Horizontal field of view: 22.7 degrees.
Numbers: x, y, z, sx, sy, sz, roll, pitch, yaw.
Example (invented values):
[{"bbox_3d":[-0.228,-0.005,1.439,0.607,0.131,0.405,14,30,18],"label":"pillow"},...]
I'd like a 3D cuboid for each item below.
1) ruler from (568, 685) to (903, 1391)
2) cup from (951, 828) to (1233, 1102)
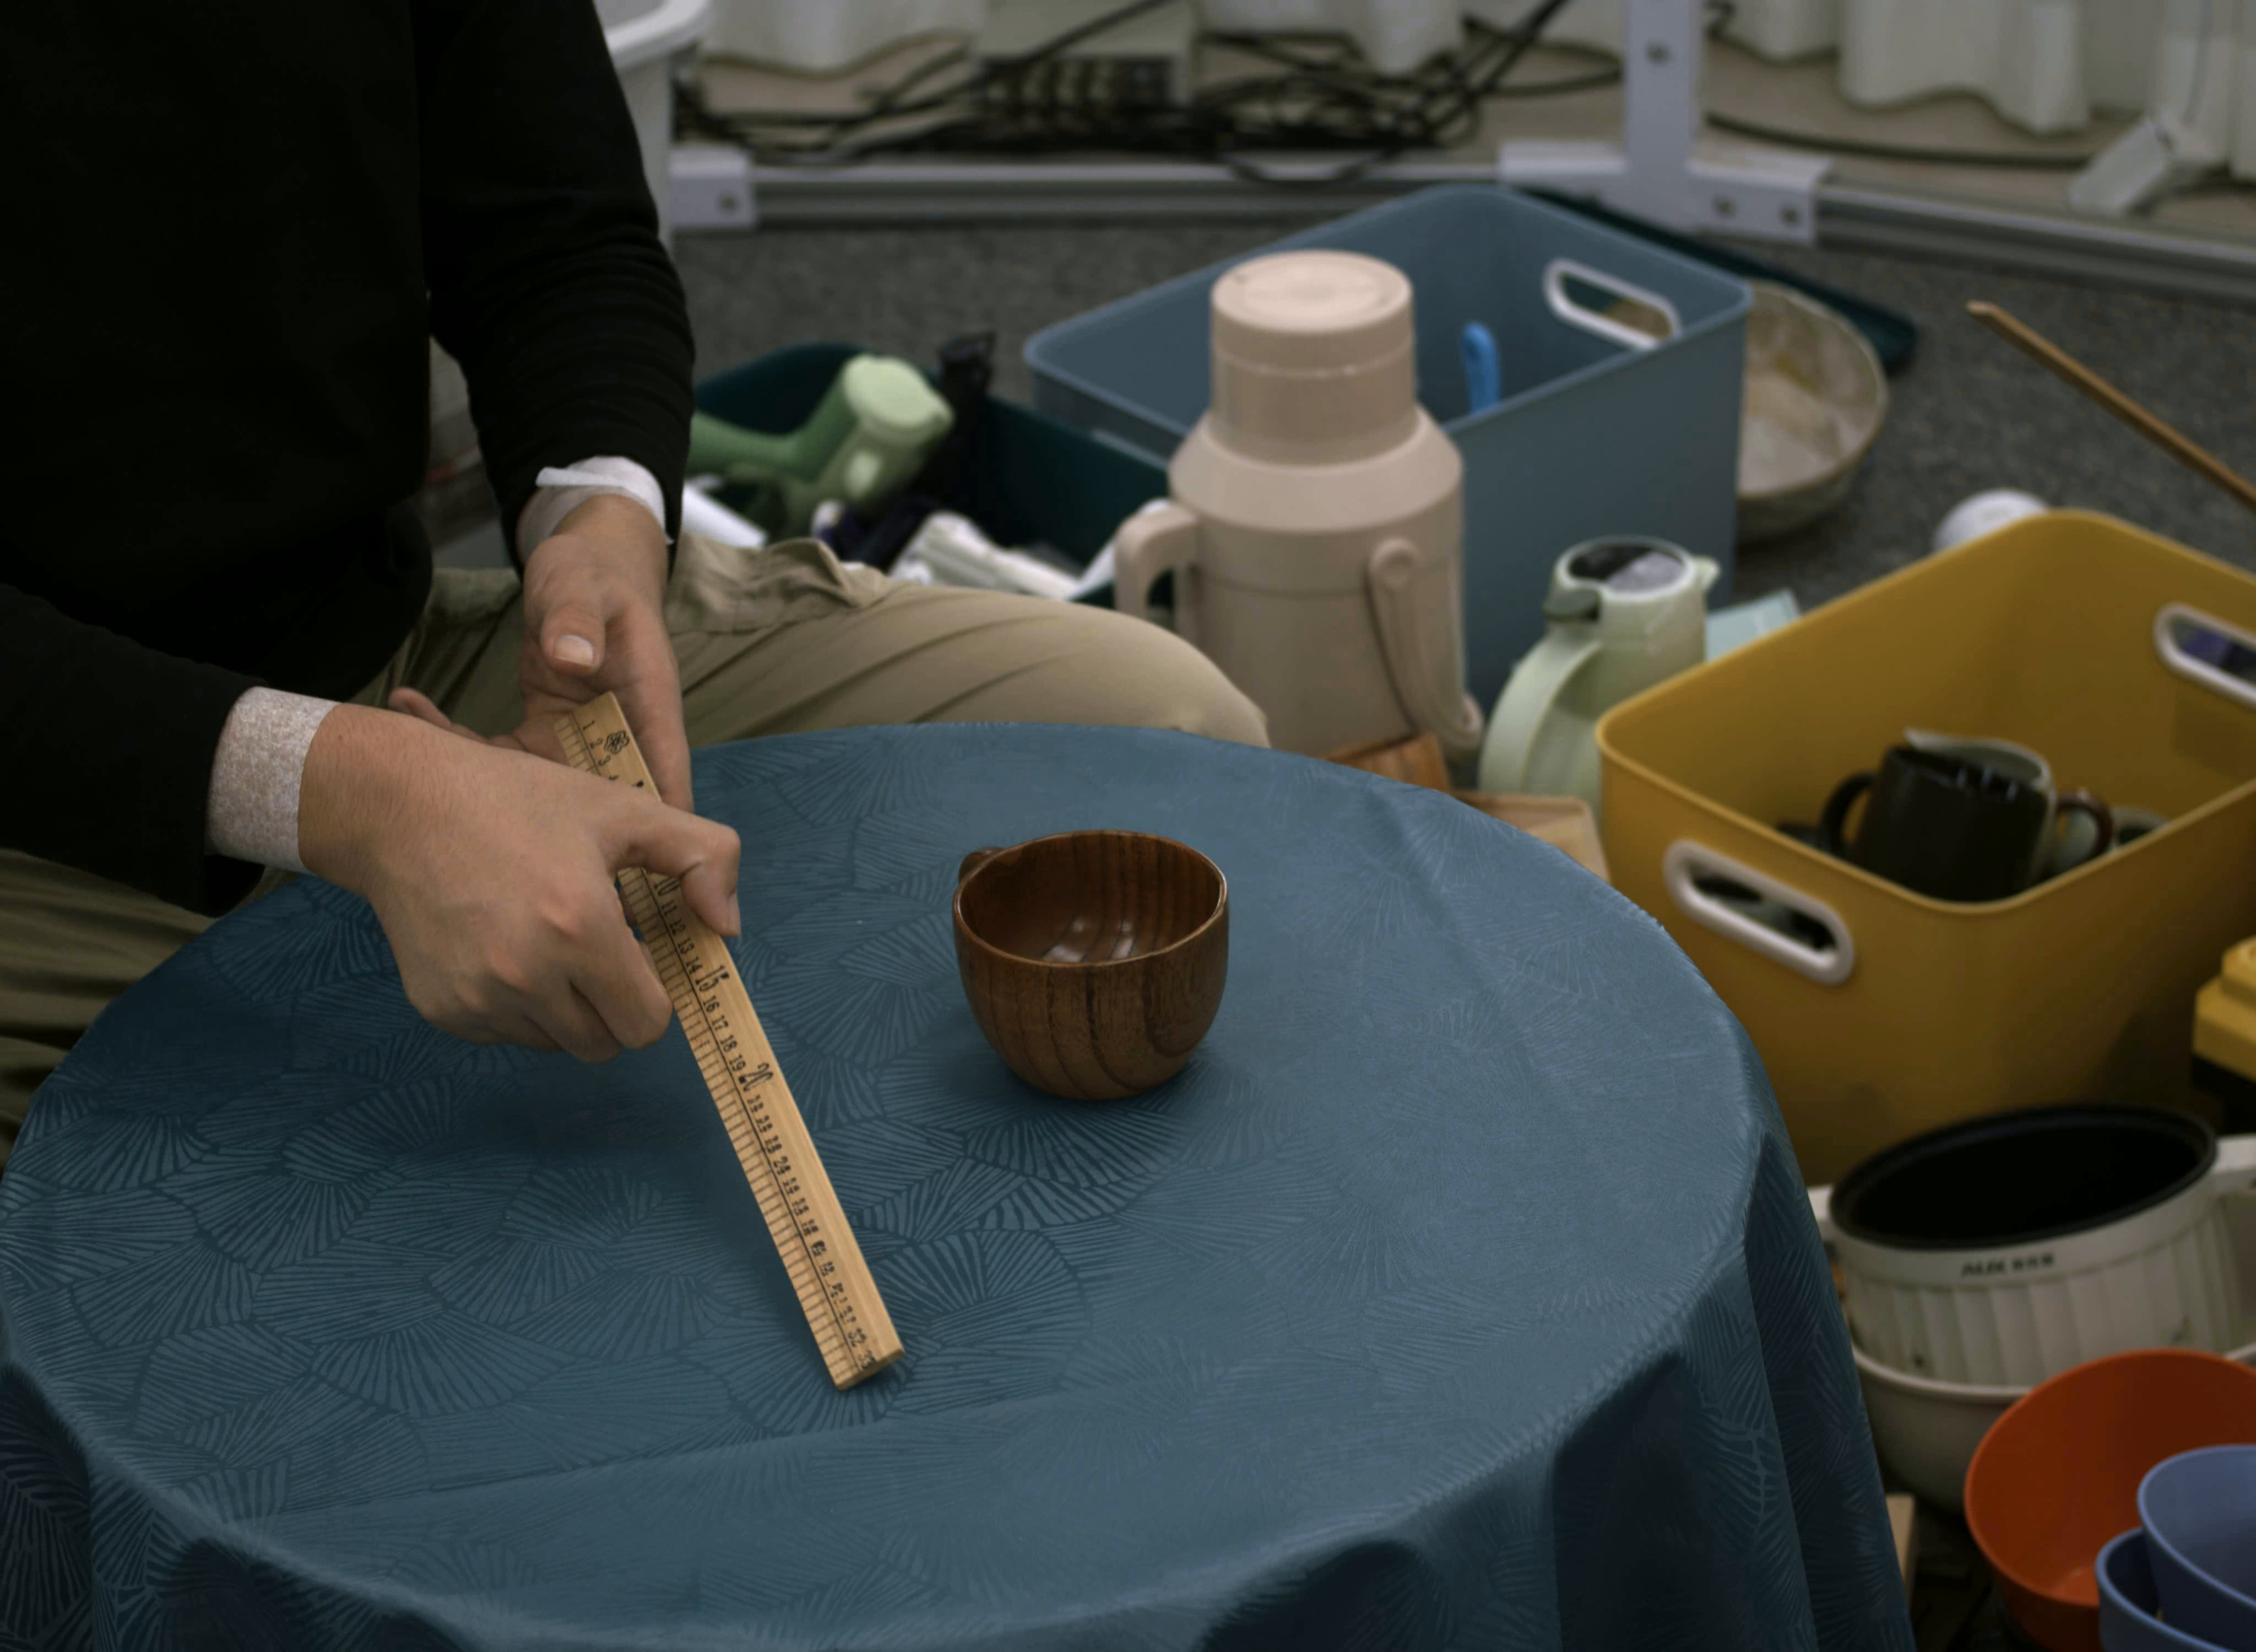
[{"bbox_3d":[-0.136,0.062,1.877,0.027,0.022,0.336,-25,46,-1],"label":"ruler"},{"bbox_3d":[-0.017,0.048,1.936,0.097,0.067,0.119,-25,33,-33],"label":"cup"}]
